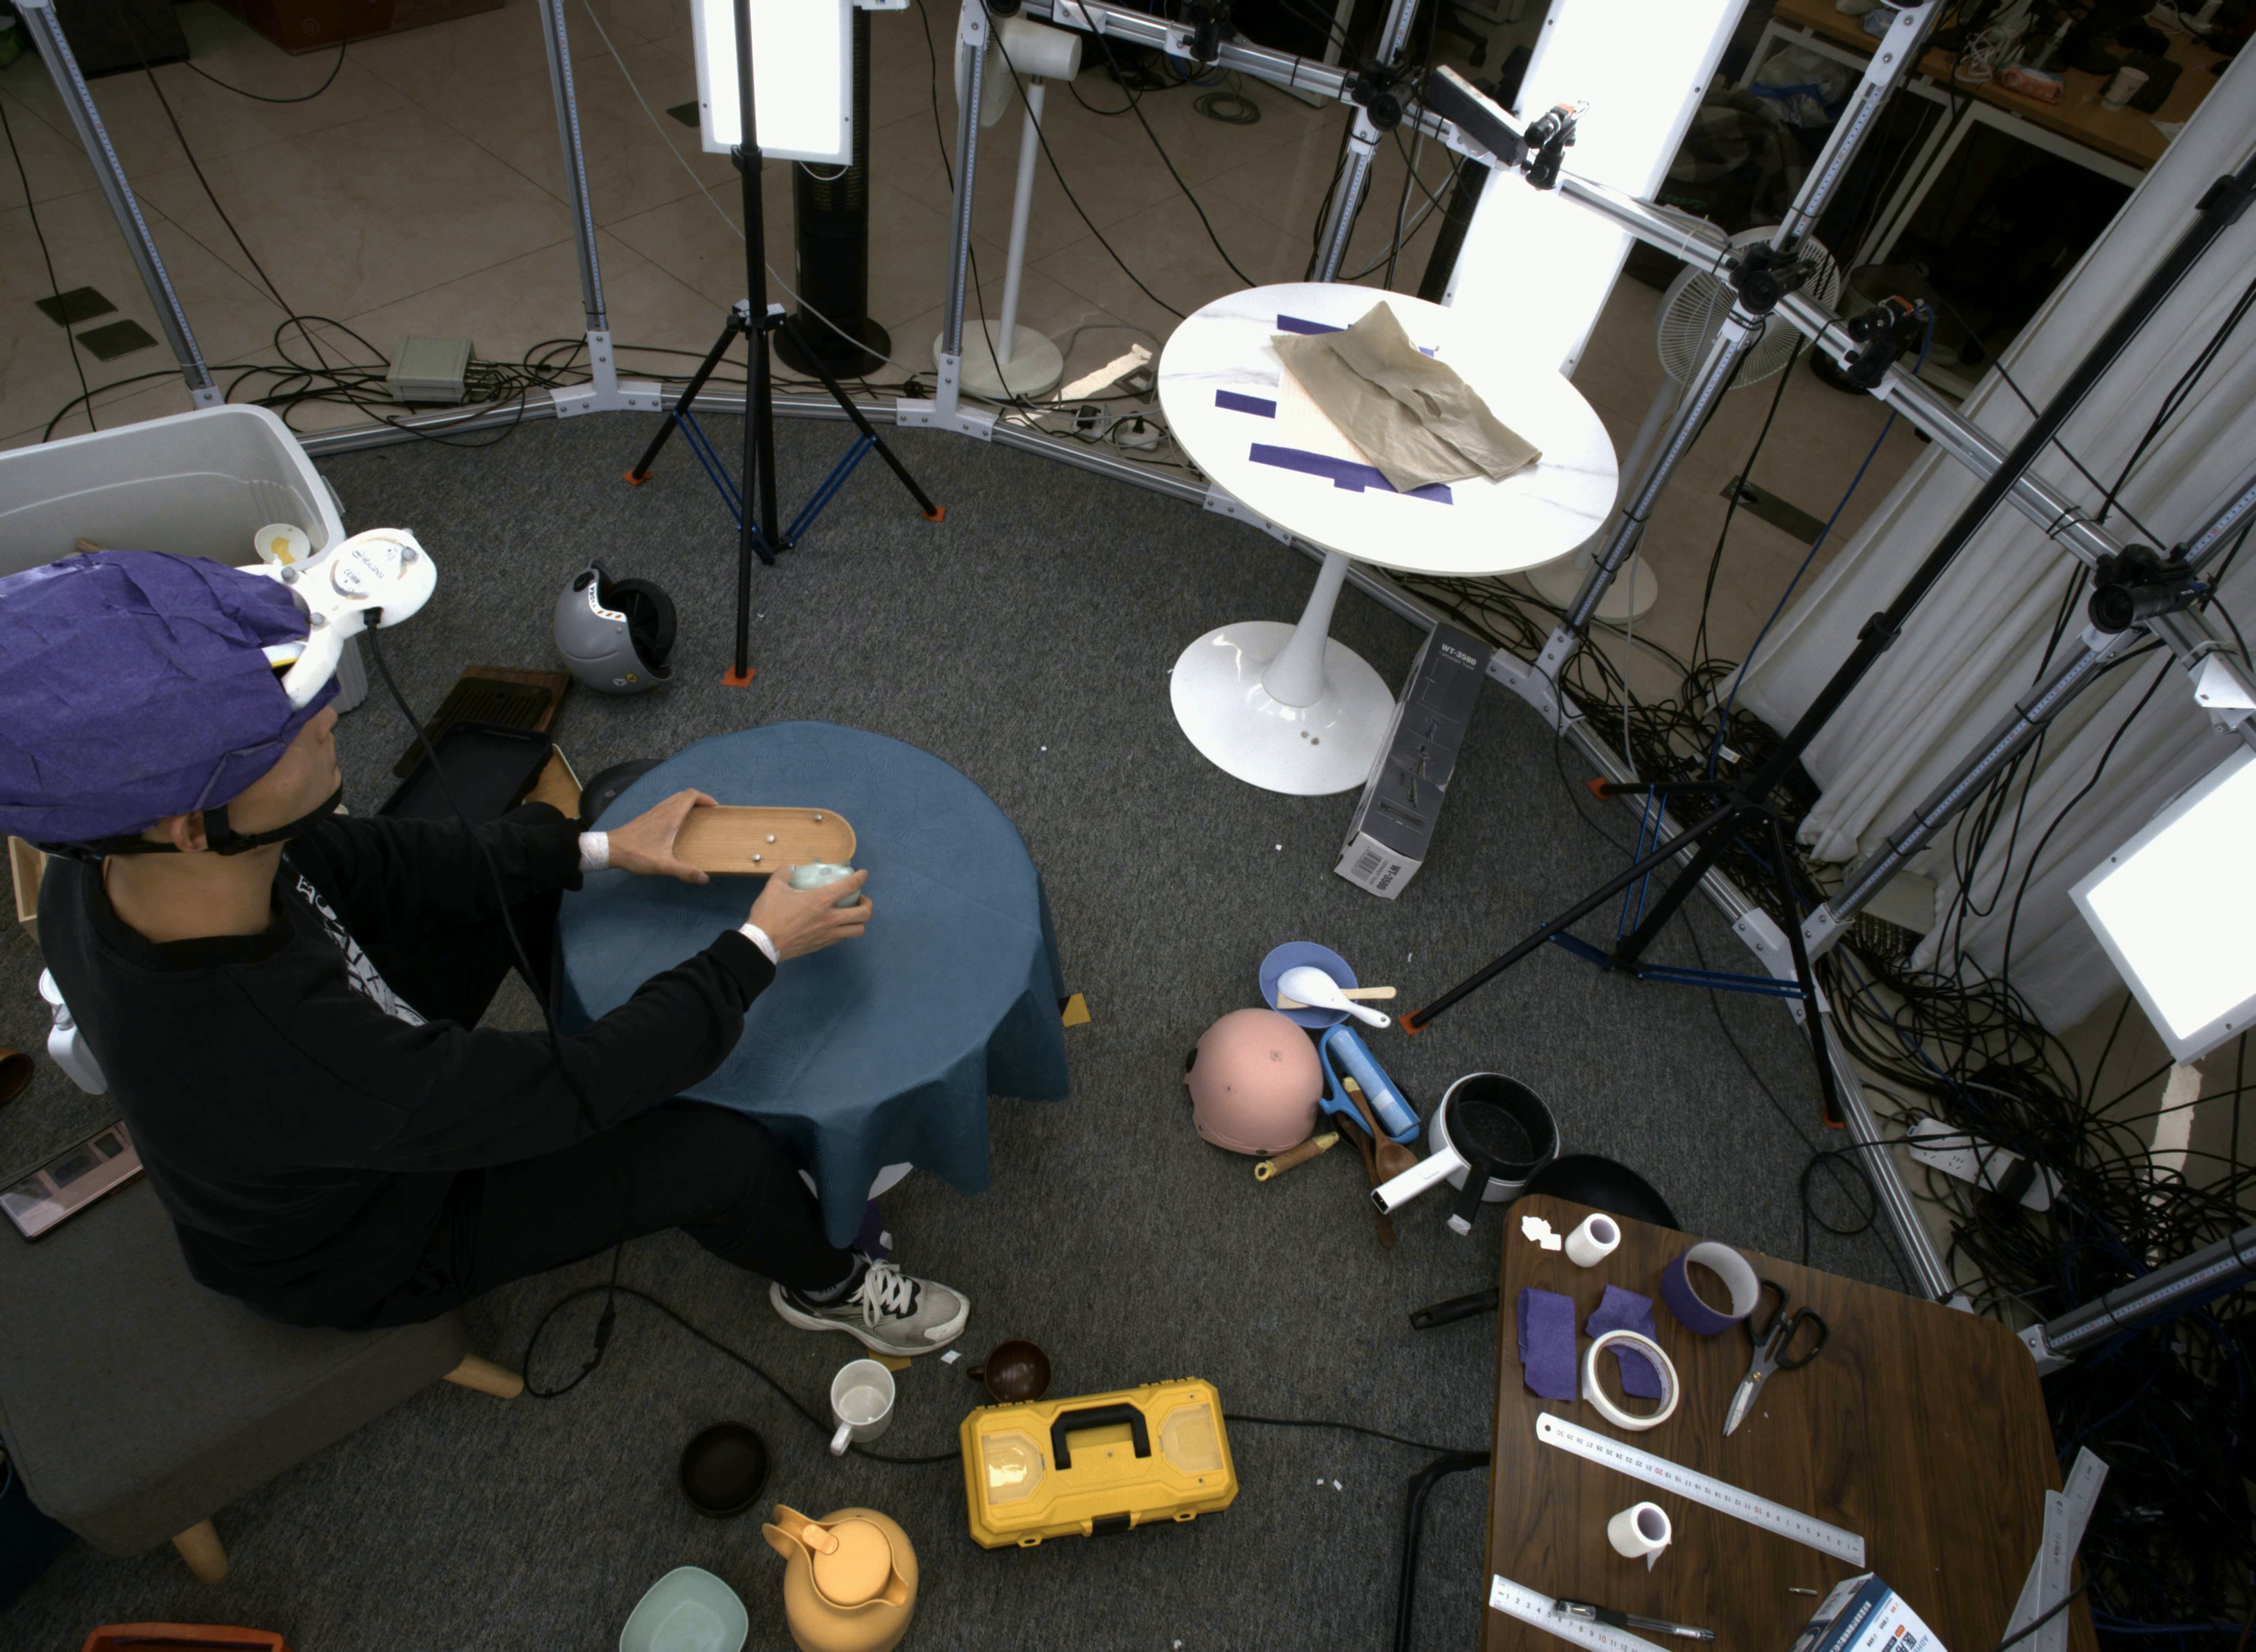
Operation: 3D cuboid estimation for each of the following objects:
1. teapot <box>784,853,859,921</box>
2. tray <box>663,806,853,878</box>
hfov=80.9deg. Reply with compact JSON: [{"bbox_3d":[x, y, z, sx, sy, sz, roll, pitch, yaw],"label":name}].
[{"bbox_3d":[-0.366,0.073,1.549,0.088,0.142,0.075,-4,85,-17],"label":"teapot"},{"bbox_3d":[-0.461,0.019,1.618,0.232,0.020,0.099,0,55,-19],"label":"tray"}]
